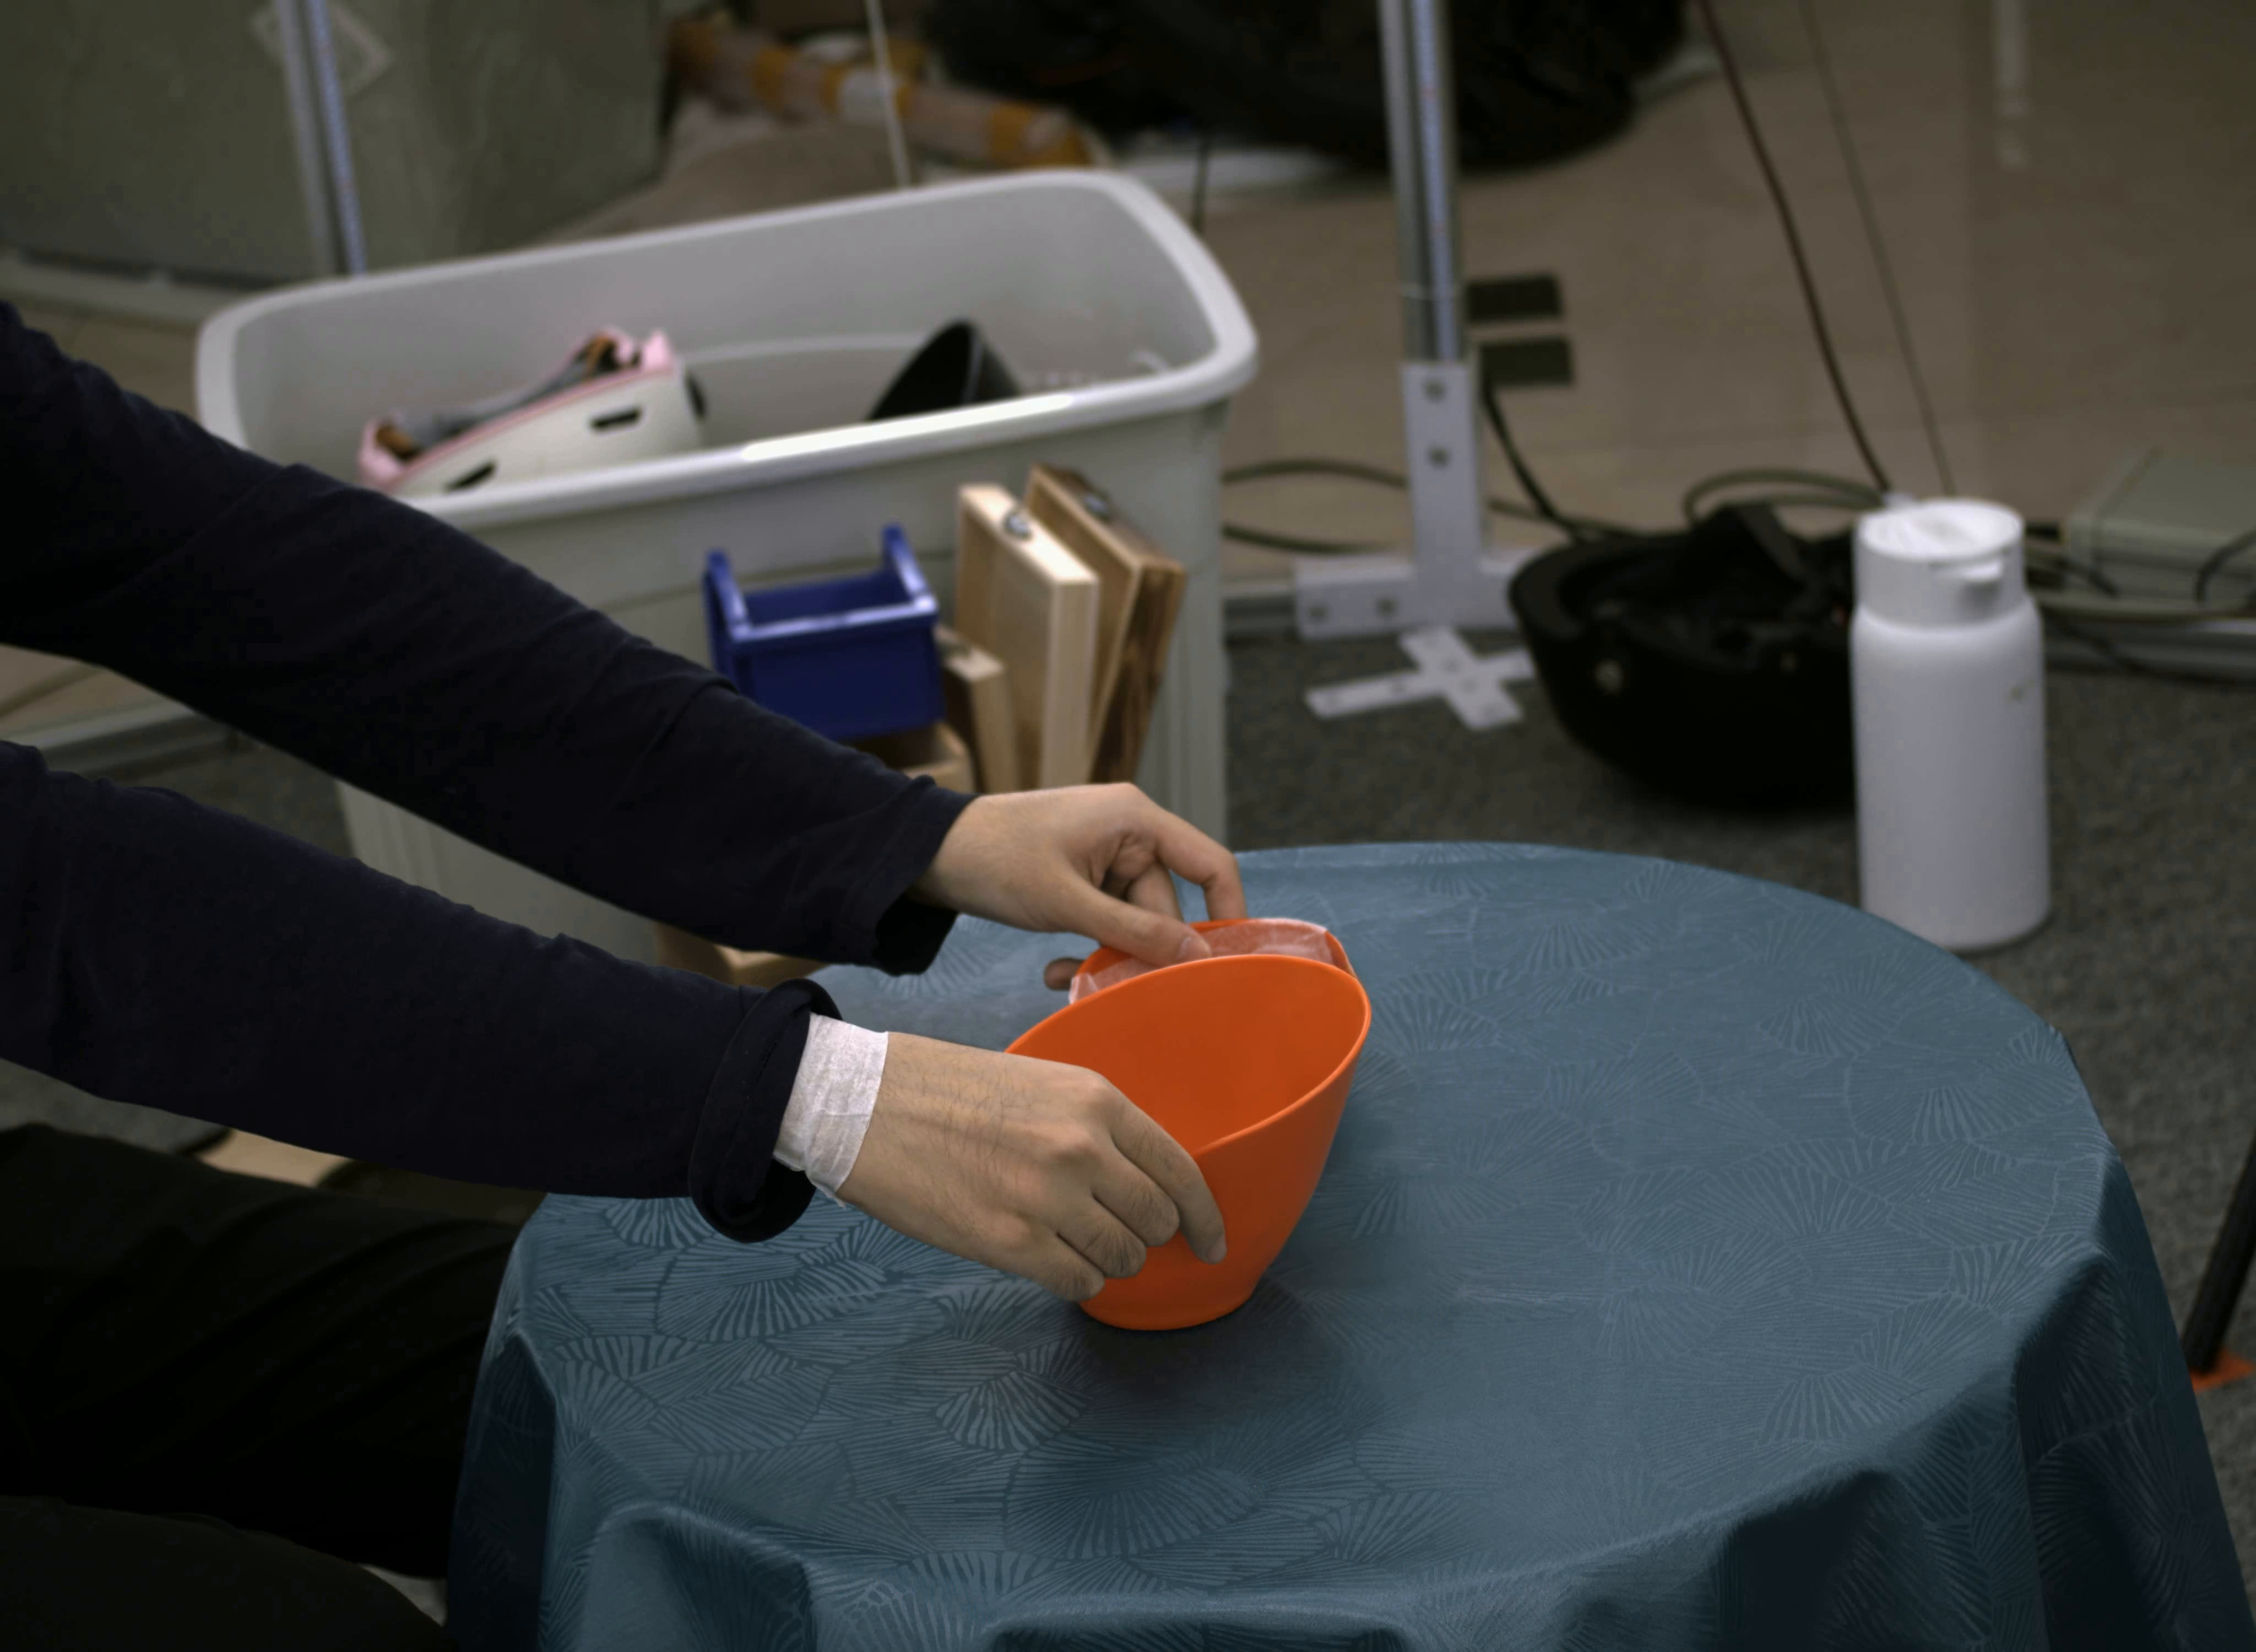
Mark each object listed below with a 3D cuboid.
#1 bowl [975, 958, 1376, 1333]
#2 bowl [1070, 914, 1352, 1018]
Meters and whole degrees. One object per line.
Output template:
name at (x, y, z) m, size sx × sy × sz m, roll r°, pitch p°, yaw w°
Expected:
bowl at (0.021, 0.122, 2.061) m, size 0.148 × 0.106 × 0.146 m, roll -5°, pitch 25°, yaw 3°
bowl at (0.034, 0.081, 2.205) m, size 0.119 × 0.052 × 0.117 m, roll -4°, pitch 26°, yaw 2°
